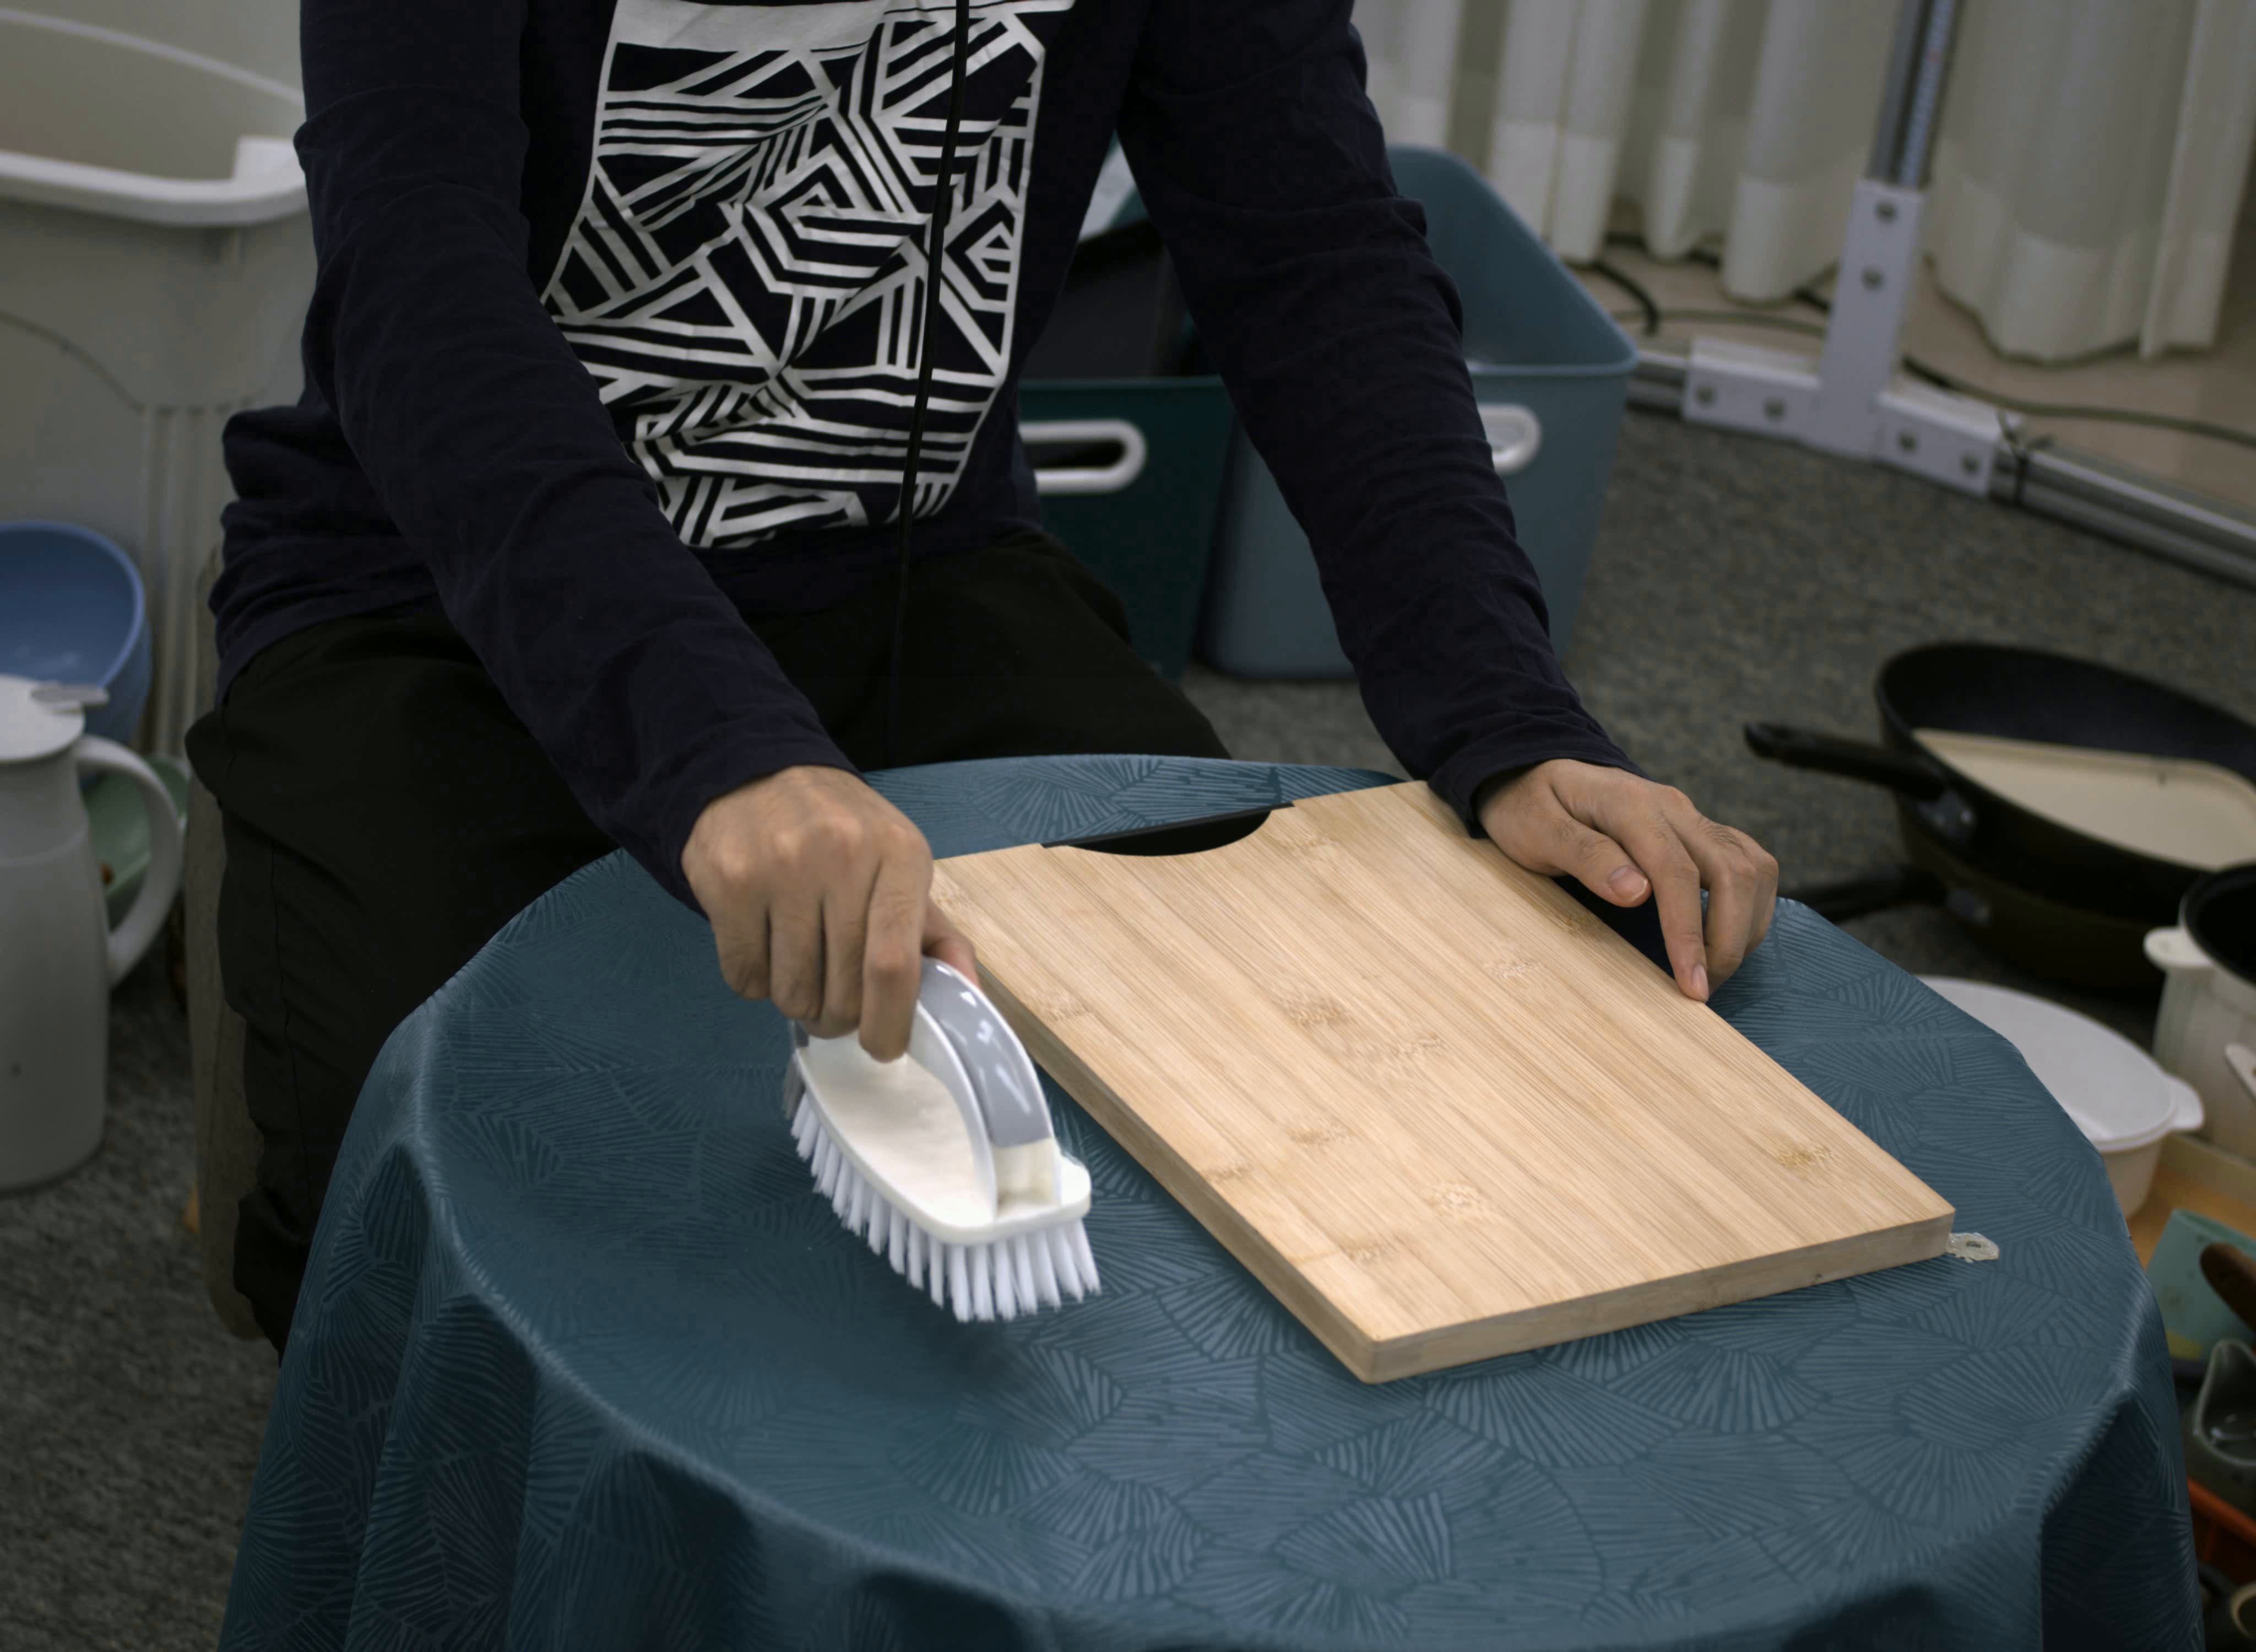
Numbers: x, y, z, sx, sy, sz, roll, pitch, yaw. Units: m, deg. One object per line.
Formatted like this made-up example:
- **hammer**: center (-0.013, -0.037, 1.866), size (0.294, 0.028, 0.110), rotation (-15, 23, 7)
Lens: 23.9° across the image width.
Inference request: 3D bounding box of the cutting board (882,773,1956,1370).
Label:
- **cutting board**: center (0.096, 0.080, 1.896), size (0.249, 0.023, 0.352), rotation (-9, 31, -29)

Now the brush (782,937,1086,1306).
- **brush**: center (-0.073, 0.081, 1.720), size (0.061, 0.094, 0.177), rotation (-11, 25, -25)
